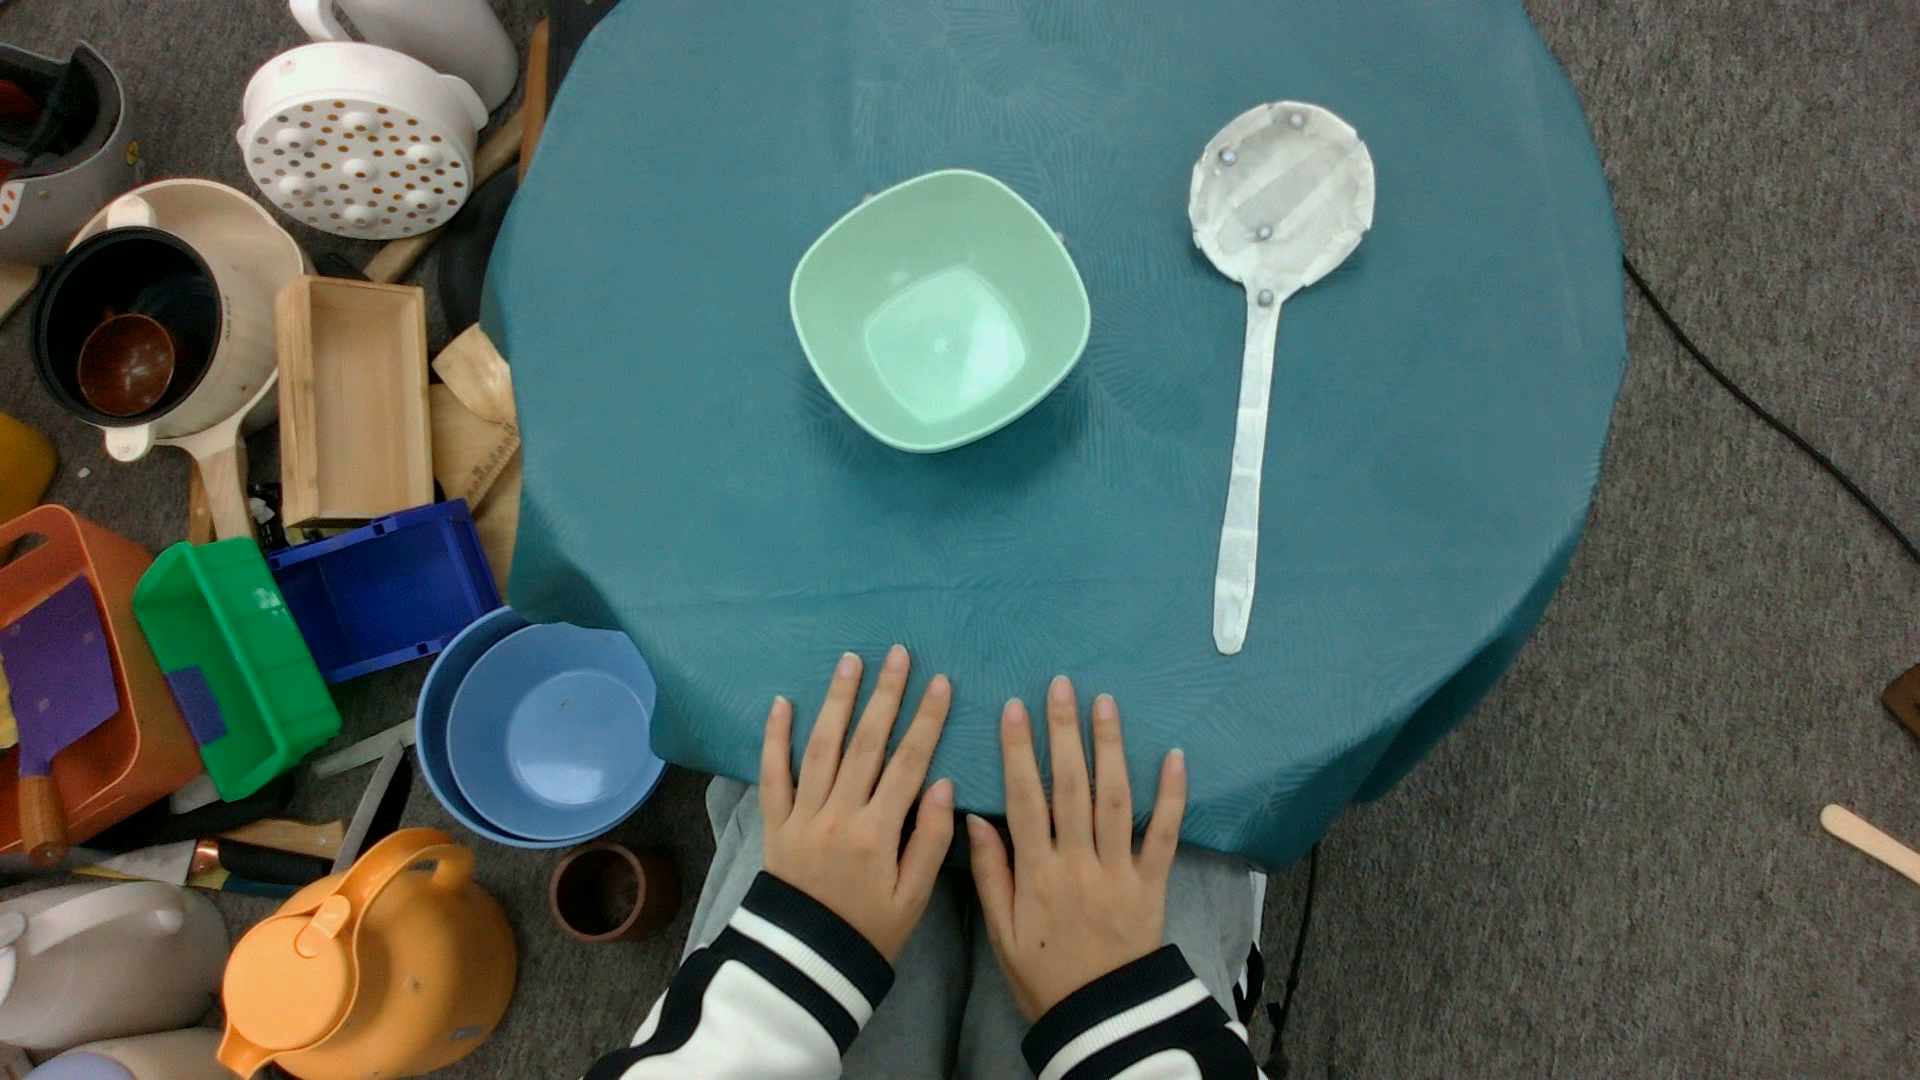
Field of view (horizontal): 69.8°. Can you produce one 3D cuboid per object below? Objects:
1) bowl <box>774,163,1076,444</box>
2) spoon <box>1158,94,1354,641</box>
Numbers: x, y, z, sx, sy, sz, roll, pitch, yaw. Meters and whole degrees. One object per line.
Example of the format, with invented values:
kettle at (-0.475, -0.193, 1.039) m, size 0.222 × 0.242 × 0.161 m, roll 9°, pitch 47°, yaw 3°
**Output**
bowl at (-0.017, -0.113, 0.708) m, size 0.151 × 0.058 × 0.152 m, roll -1°, pitch 75°, yaw 2°
spoon at (0.134, -0.089, 0.694) m, size 0.100 × 0.059 × 0.278 m, roll 9°, pitch 75°, yaw 9°
